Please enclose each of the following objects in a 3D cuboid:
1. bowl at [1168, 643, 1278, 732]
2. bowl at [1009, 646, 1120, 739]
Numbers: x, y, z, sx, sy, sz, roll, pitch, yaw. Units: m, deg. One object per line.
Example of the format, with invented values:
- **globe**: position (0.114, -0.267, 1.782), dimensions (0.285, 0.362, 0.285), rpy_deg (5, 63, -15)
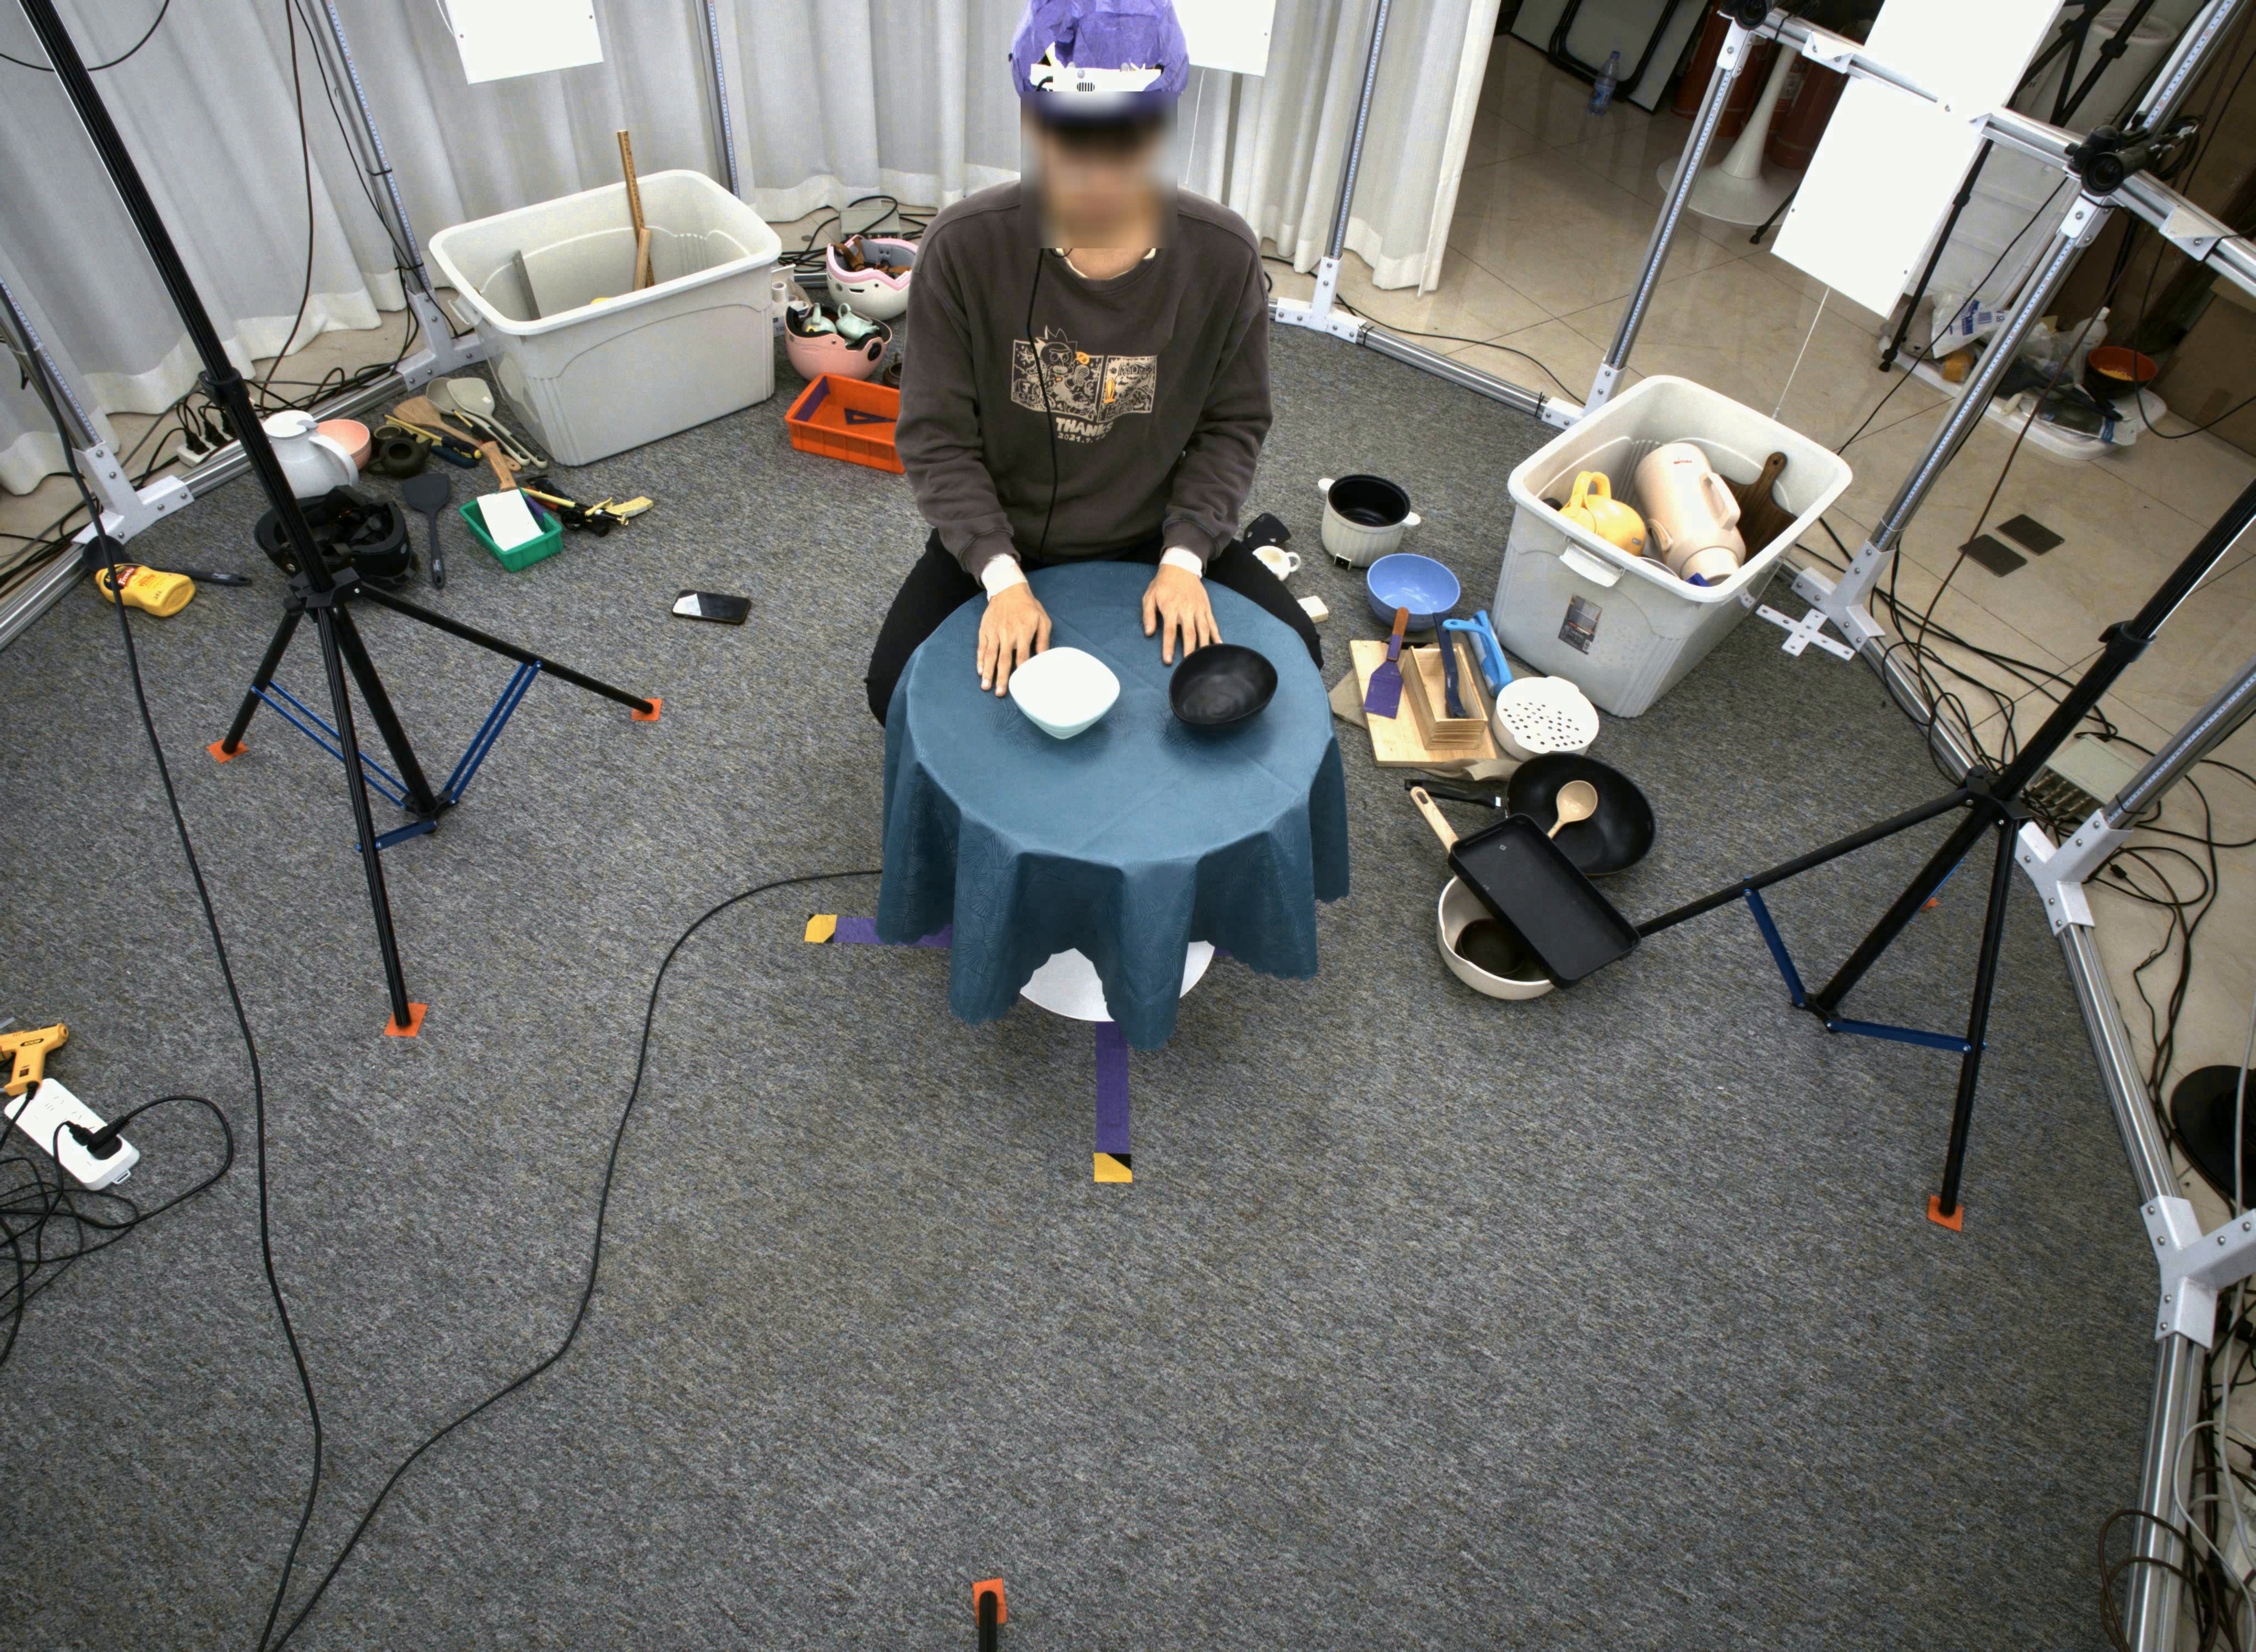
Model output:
- **bowl**: position (0.131, -0.180, 1.790), dimensions (0.139, 0.065, 0.172), rpy_deg (36, 57, 25)
- **bowl**: position (-0.089, -0.176, 1.776), dimensions (0.151, 0.057, 0.155), rpy_deg (2, 51, -3)
